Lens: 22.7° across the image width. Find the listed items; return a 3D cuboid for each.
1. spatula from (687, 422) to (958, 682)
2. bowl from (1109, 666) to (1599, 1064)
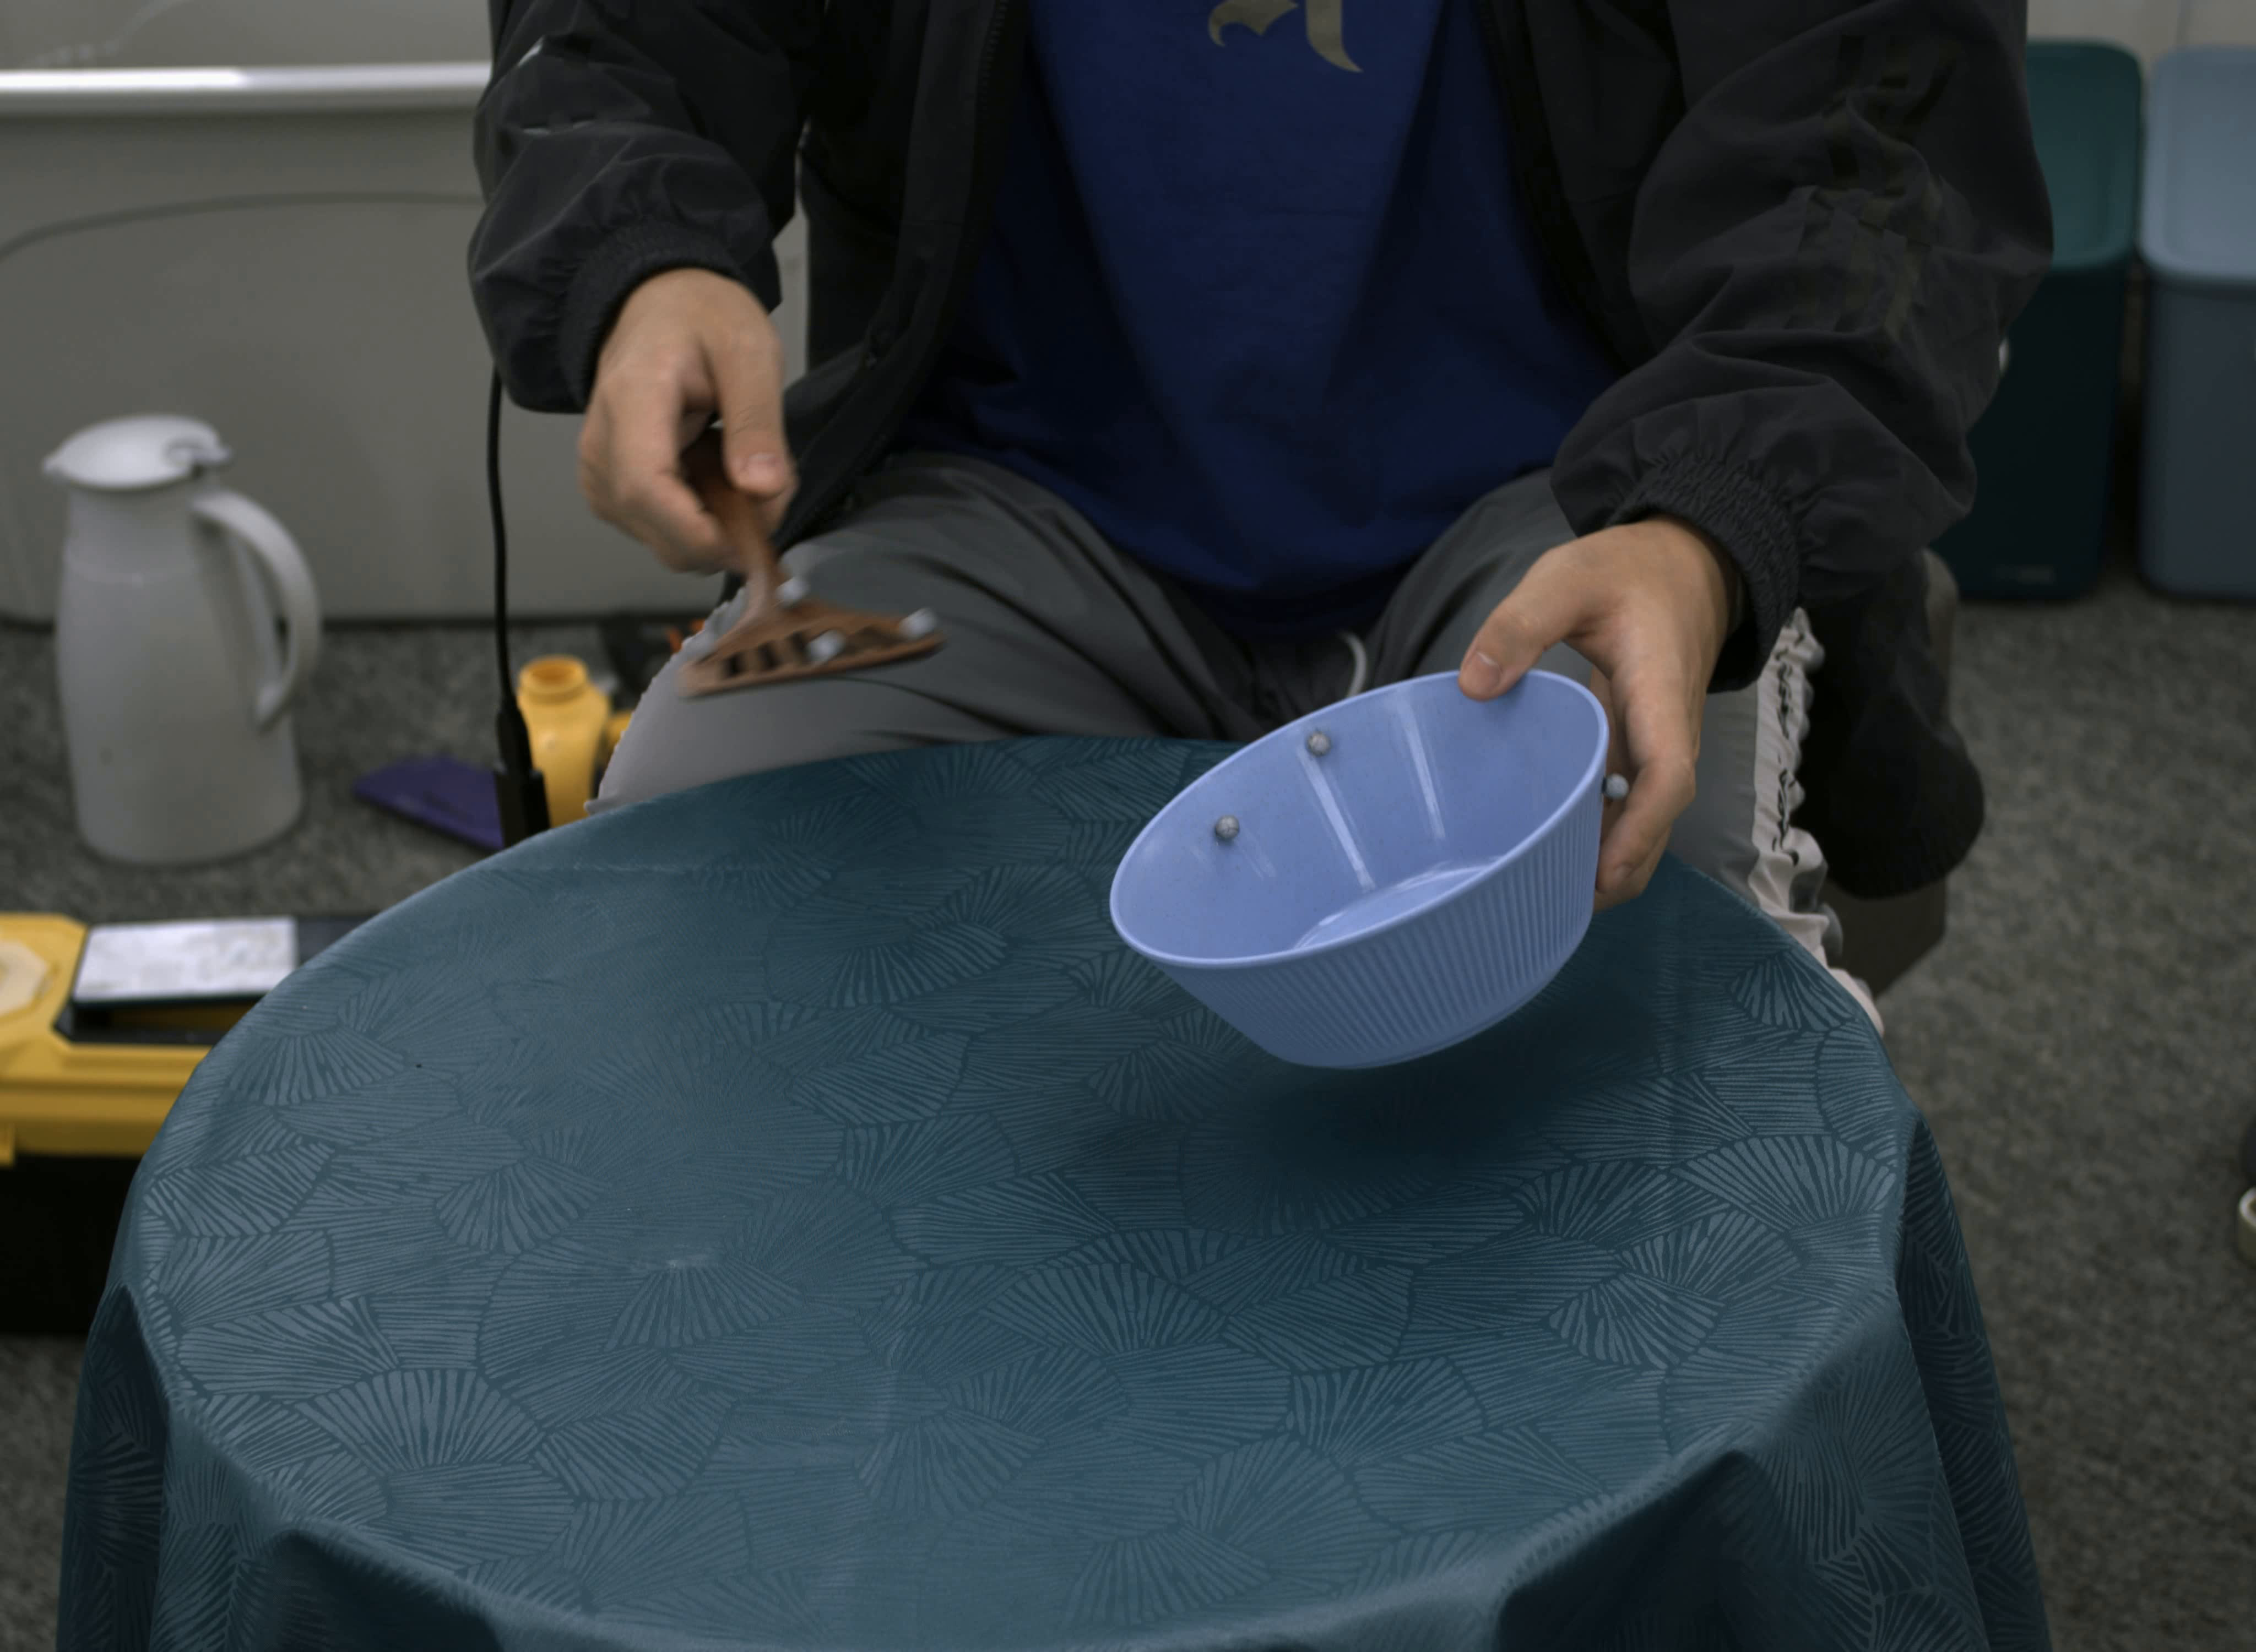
[{"bbox_3d":[-0.123,-0.095,1.945,0.085,0.024,0.389,-10,17,-7],"label":"spatula"},{"bbox_3d":[0.086,0.021,1.863,0.175,0.070,0.178,-21,22,9],"label":"bowl"}]
